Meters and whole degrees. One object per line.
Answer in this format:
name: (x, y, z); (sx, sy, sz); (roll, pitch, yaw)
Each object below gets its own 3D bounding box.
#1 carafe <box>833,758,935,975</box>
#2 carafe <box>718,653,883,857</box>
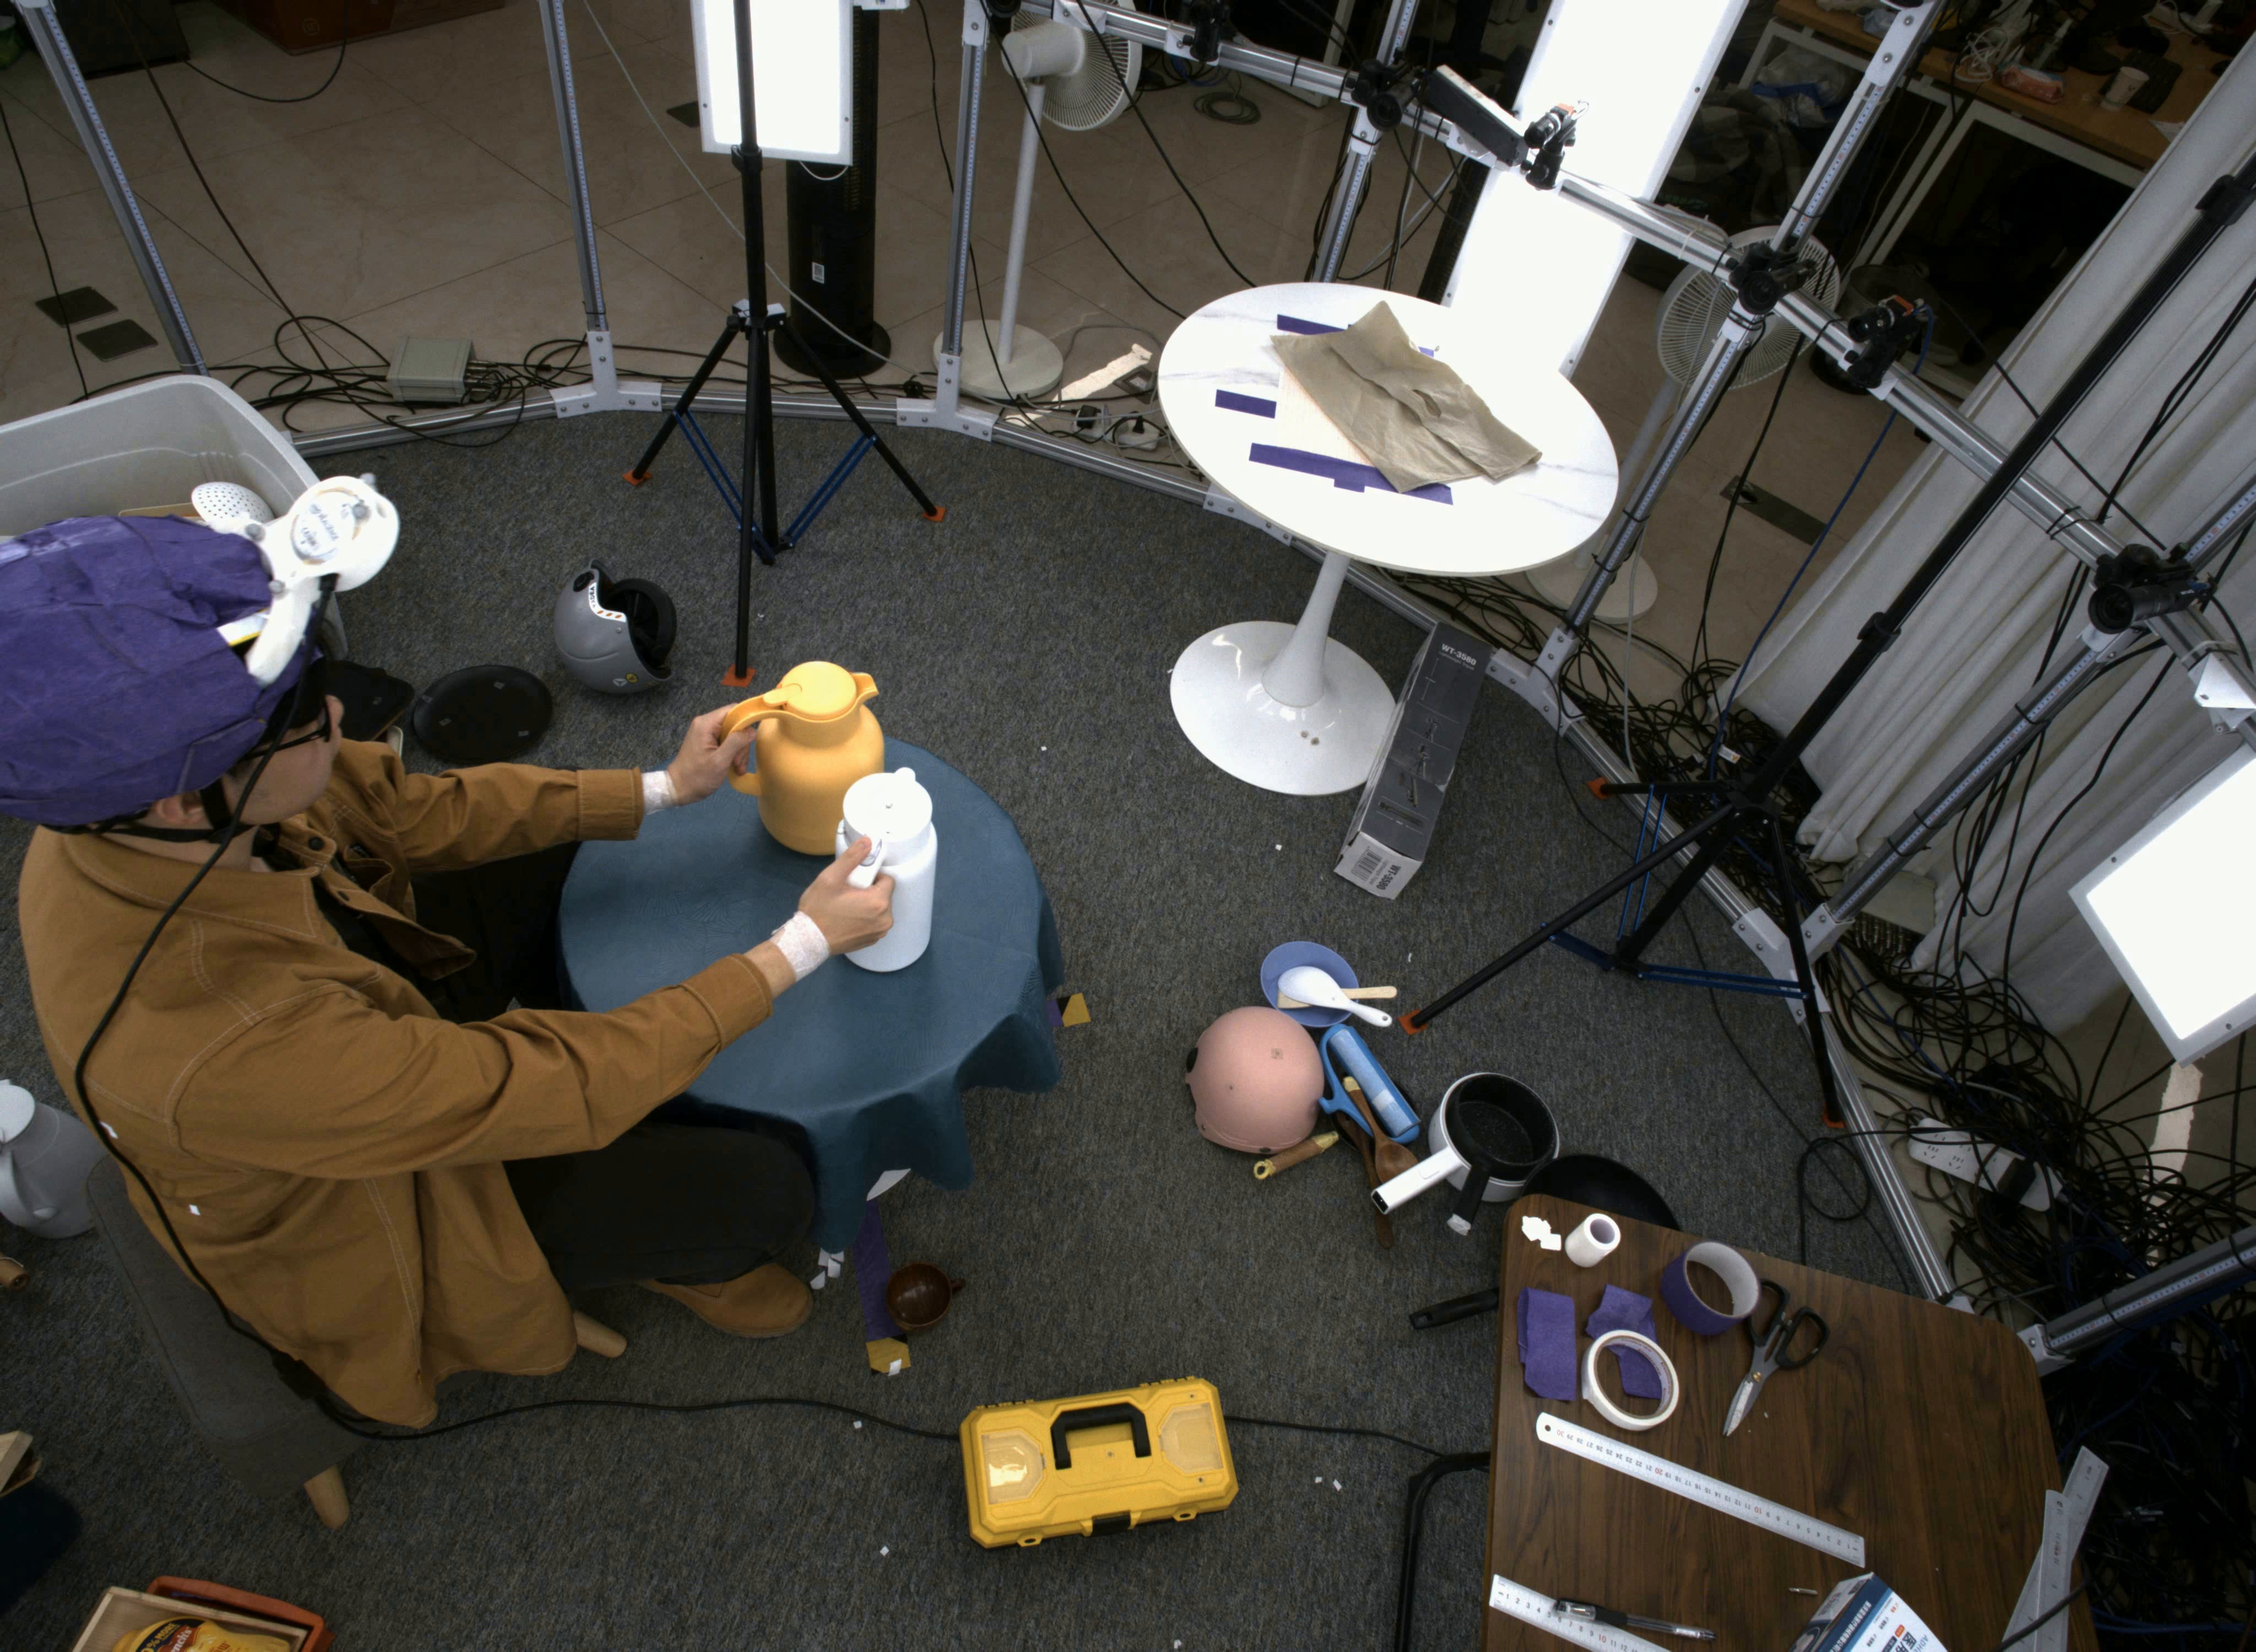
carafe: (-0.293, 0.068, 1.531); (0.123, 0.274, 0.171); (17, 50, 0)
carafe: (-0.408, -0.091, 1.623); (0.203, 0.266, 0.159); (-12, 53, -22)
